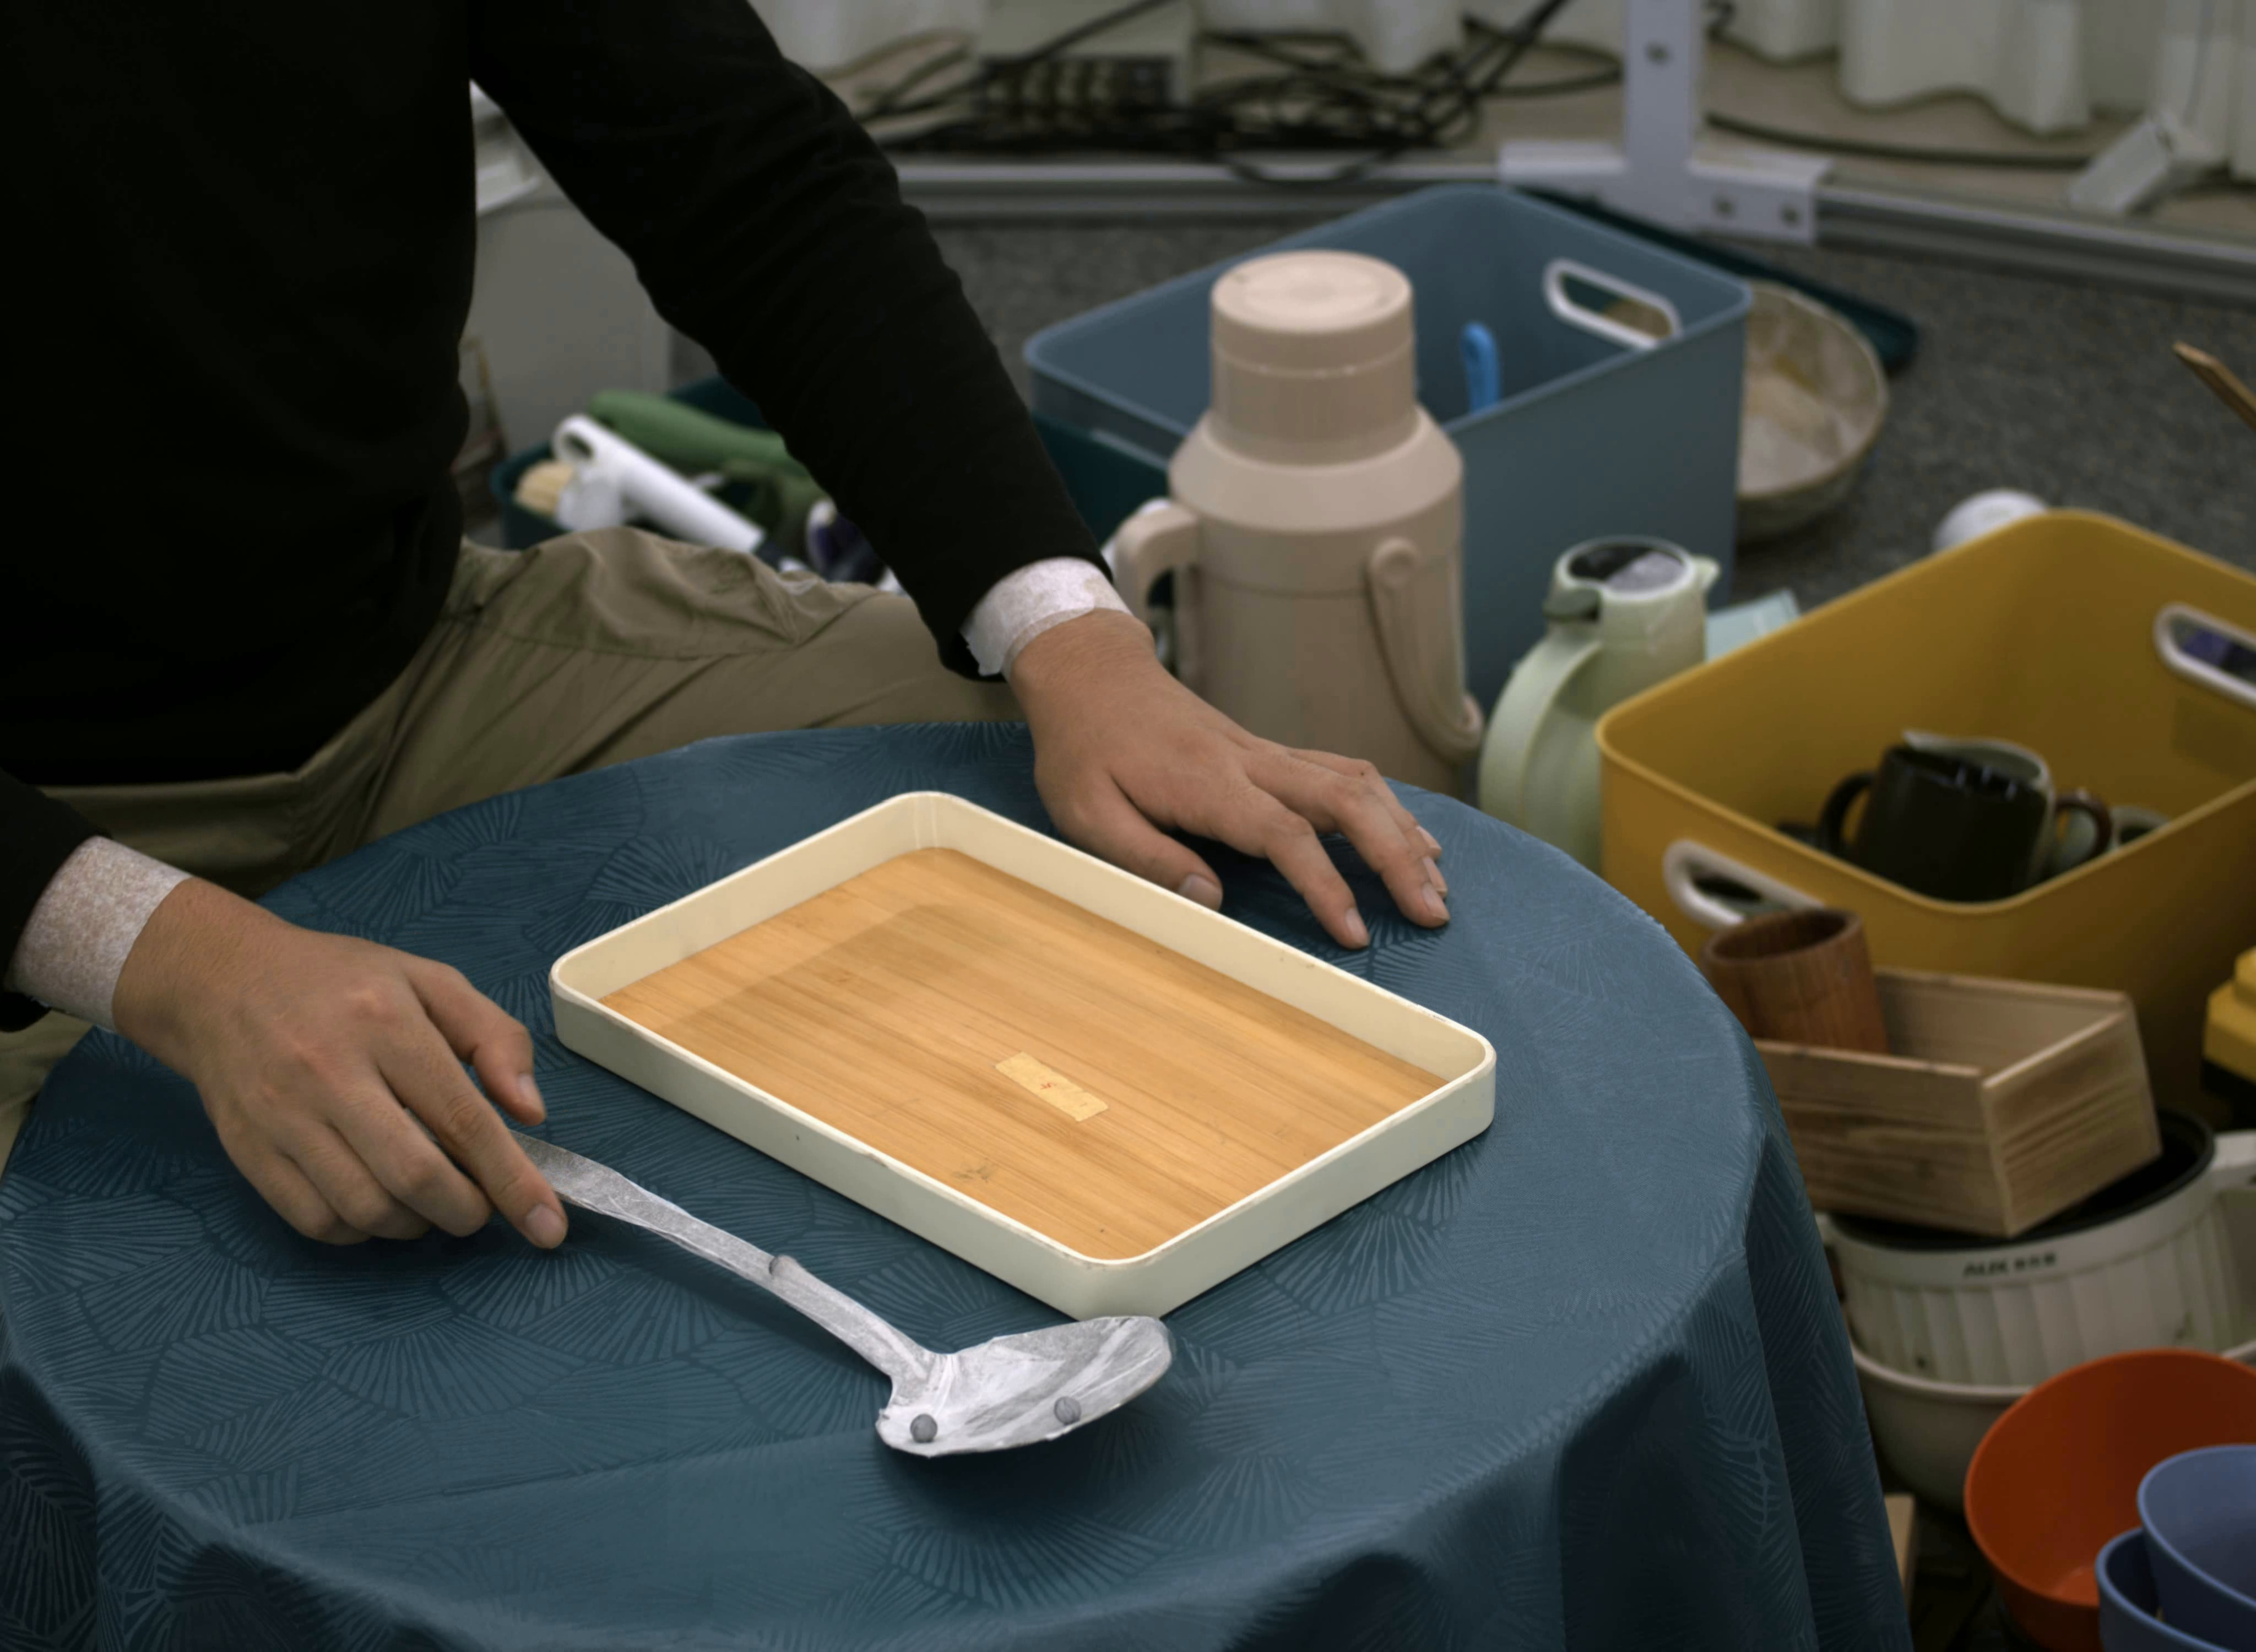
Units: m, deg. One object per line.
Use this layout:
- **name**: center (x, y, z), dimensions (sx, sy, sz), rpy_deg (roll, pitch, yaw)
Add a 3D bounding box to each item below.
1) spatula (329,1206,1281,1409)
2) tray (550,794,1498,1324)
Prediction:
- **spatula**: center (-0.121, 0.143, 1.789), dimensions (0.362, 0.044, 0.099), rpy_deg (11, 14, 31)
- **tray**: center (-0.039, 0.074, 1.927), dimensions (0.194, 0.027, 0.300), rpy_deg (-25, 35, -37)
